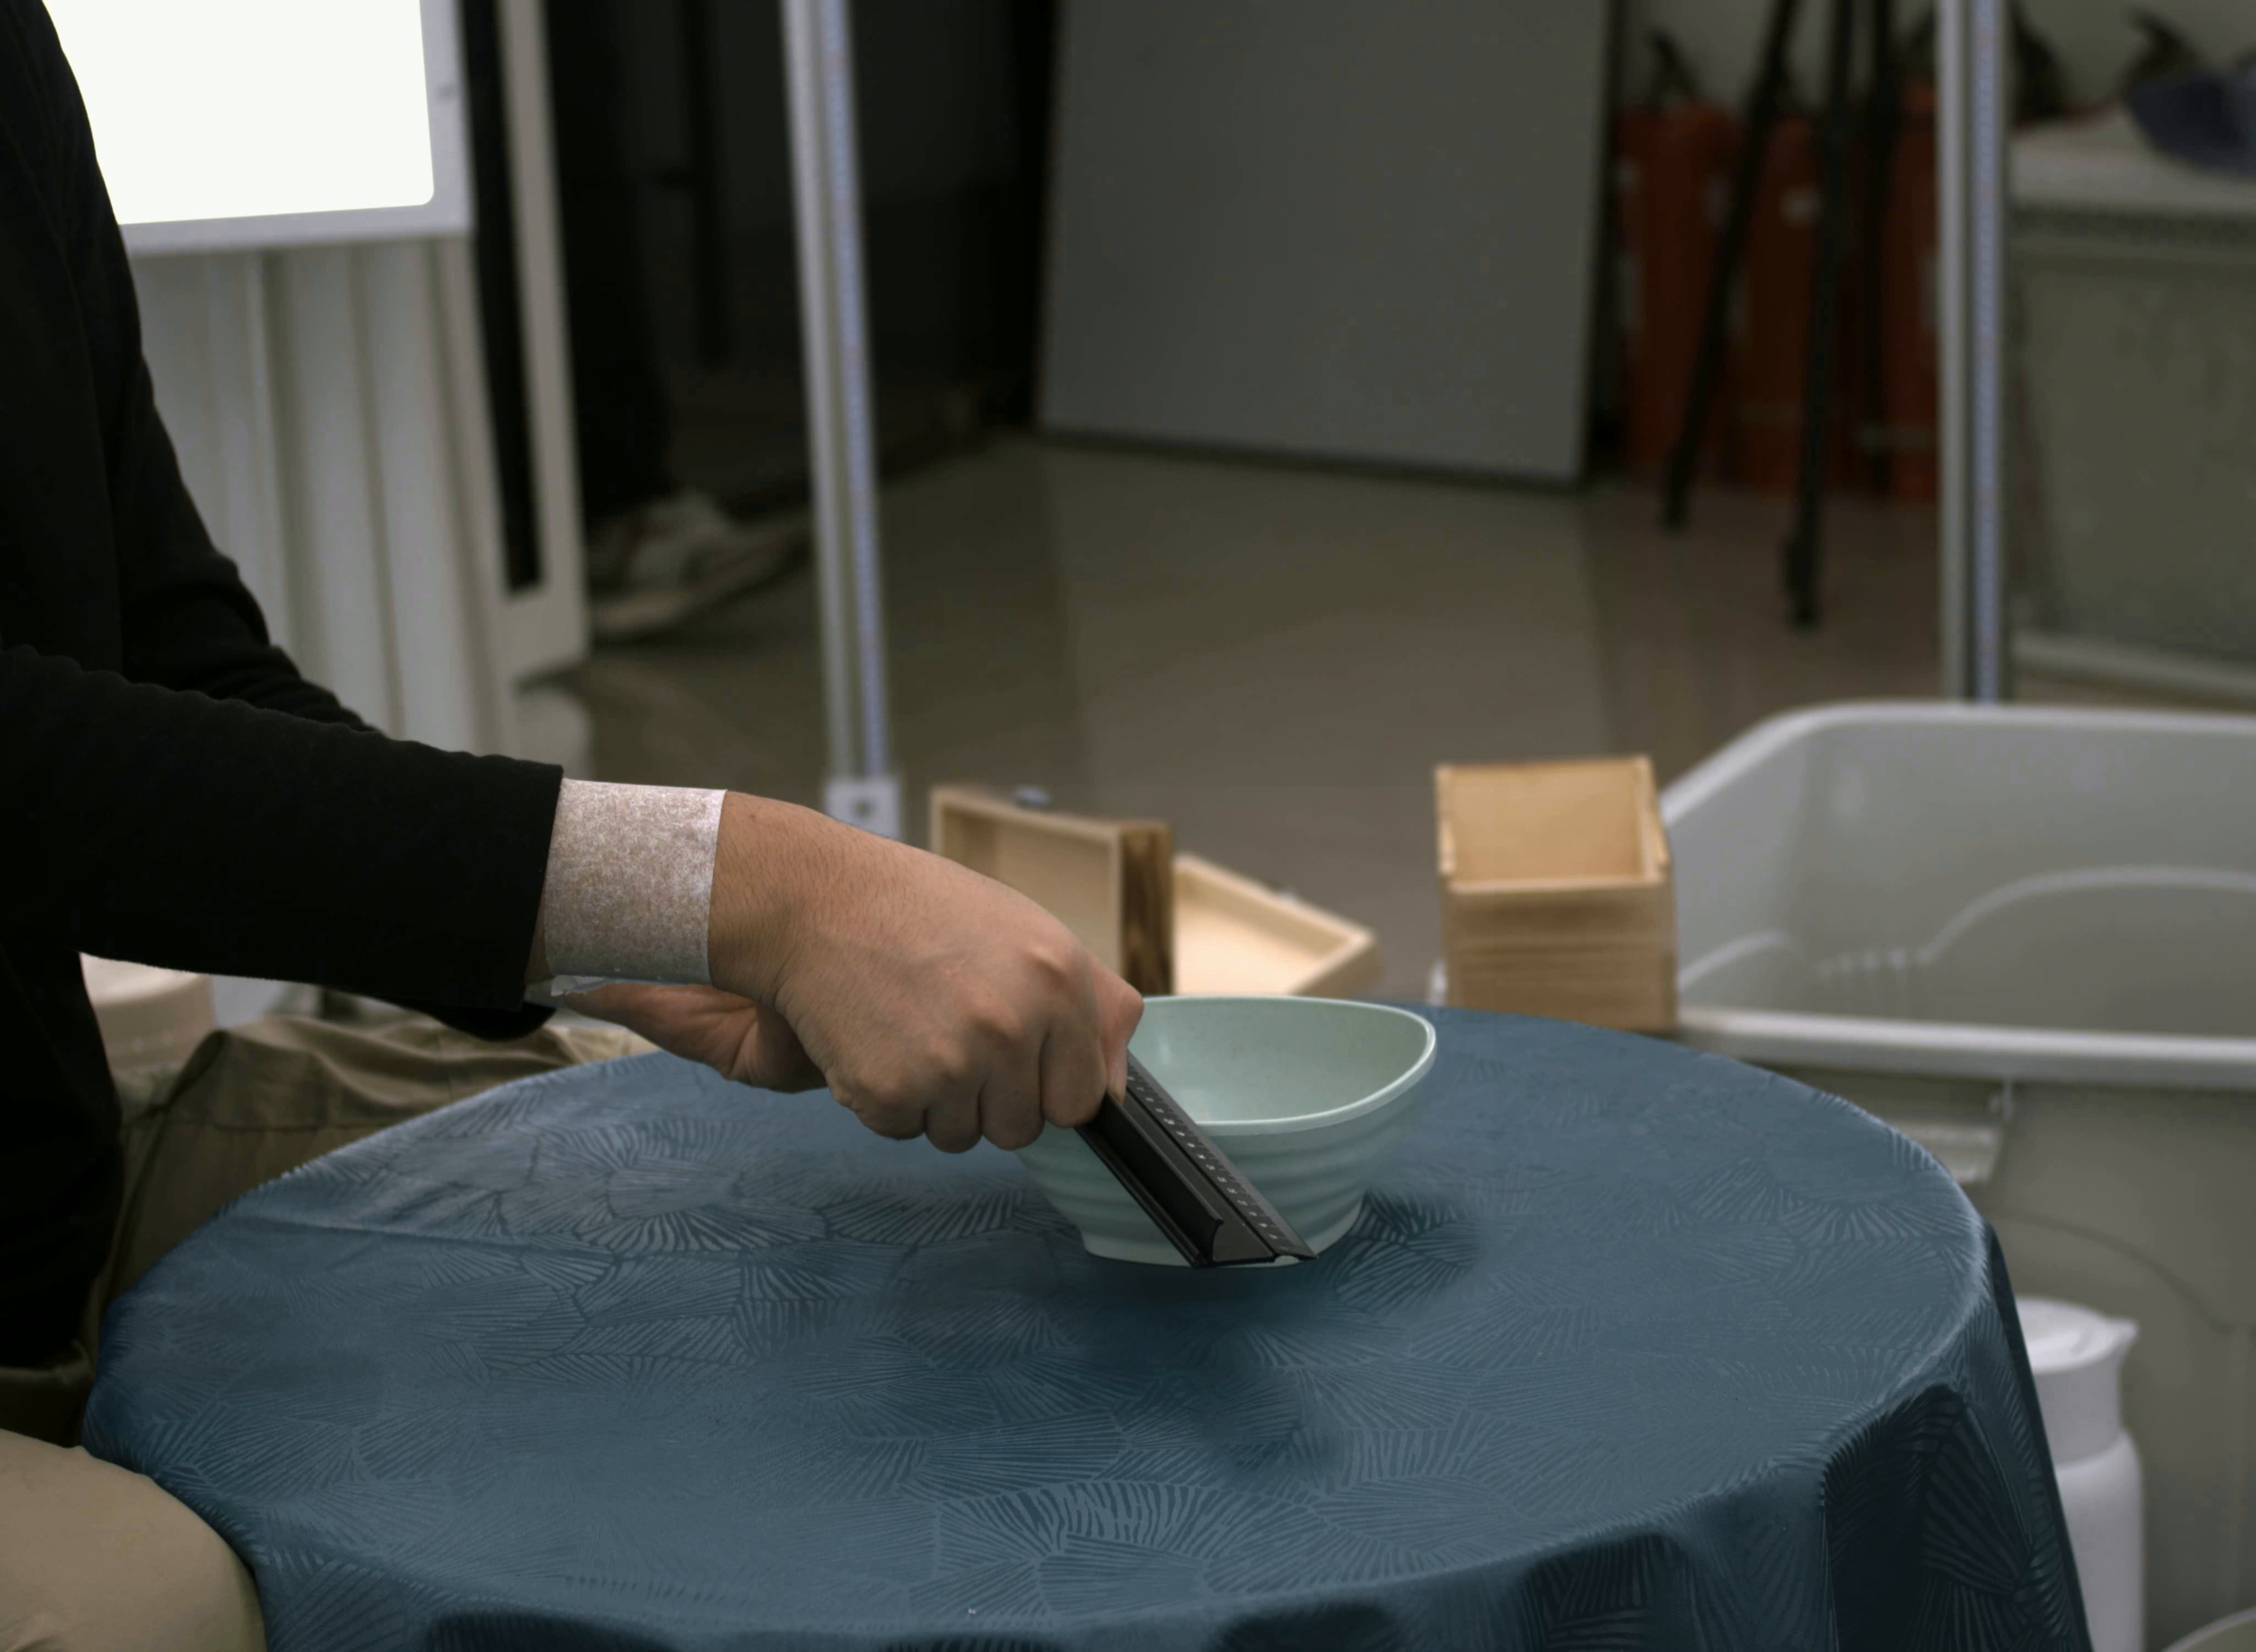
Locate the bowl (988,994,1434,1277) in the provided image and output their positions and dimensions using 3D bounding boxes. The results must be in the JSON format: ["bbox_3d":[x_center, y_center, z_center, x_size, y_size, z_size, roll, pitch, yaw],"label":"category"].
[{"bbox_3d":[0.028,0.102,1.724,0.149,0.059,0.152,-3,15,0],"label":"bowl"}]

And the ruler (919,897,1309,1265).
[{"bbox_3d":[-0.008,0.073,1.678,0.038,0.017,0.315,-1,16,-17],"label":"ruler"}]
